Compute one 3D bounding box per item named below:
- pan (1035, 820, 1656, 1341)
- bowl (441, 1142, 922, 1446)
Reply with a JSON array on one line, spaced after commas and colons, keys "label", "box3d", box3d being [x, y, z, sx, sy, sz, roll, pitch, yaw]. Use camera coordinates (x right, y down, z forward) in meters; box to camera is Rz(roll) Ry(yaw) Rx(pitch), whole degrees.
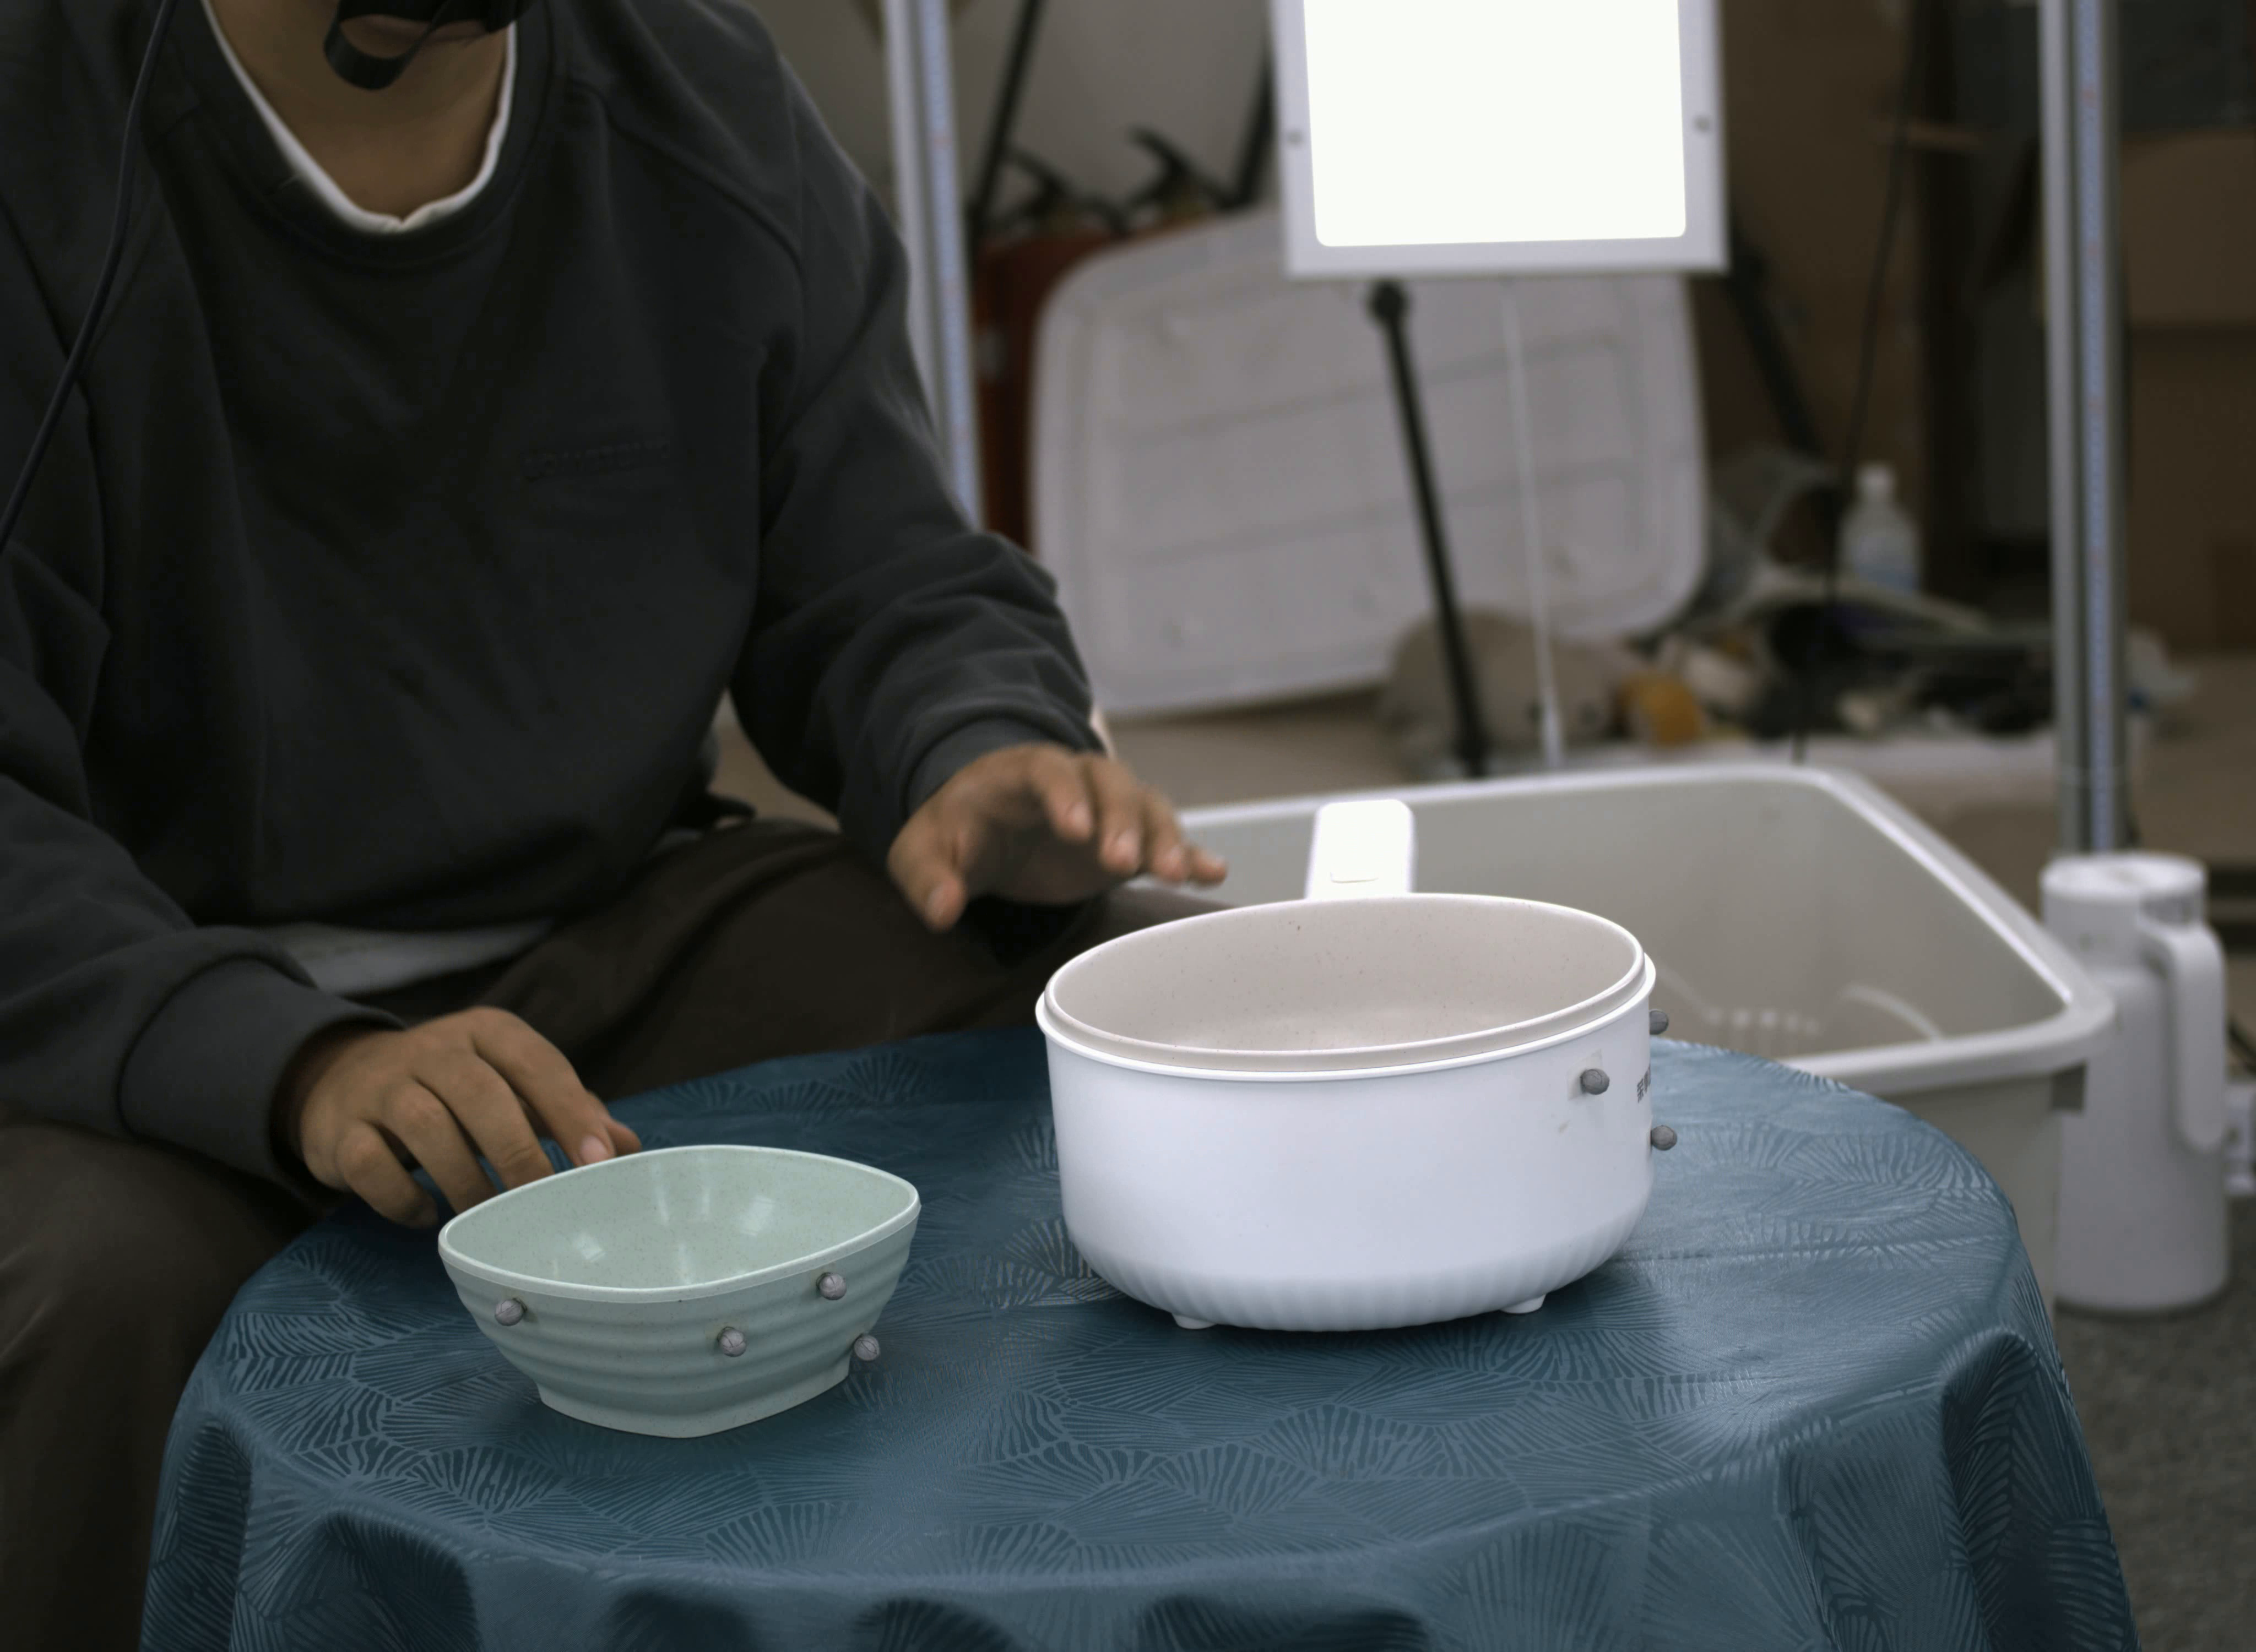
[{"label": "pan", "box3d": [0.079, 0.082, 1.862, 0.202, 0.102, 0.353, -5, 12, 5]}, {"label": "bowl", "box3d": [-0.138, 0.150, 1.734, 0.151, 0.059, 0.151, -4, 15, 0]}]
